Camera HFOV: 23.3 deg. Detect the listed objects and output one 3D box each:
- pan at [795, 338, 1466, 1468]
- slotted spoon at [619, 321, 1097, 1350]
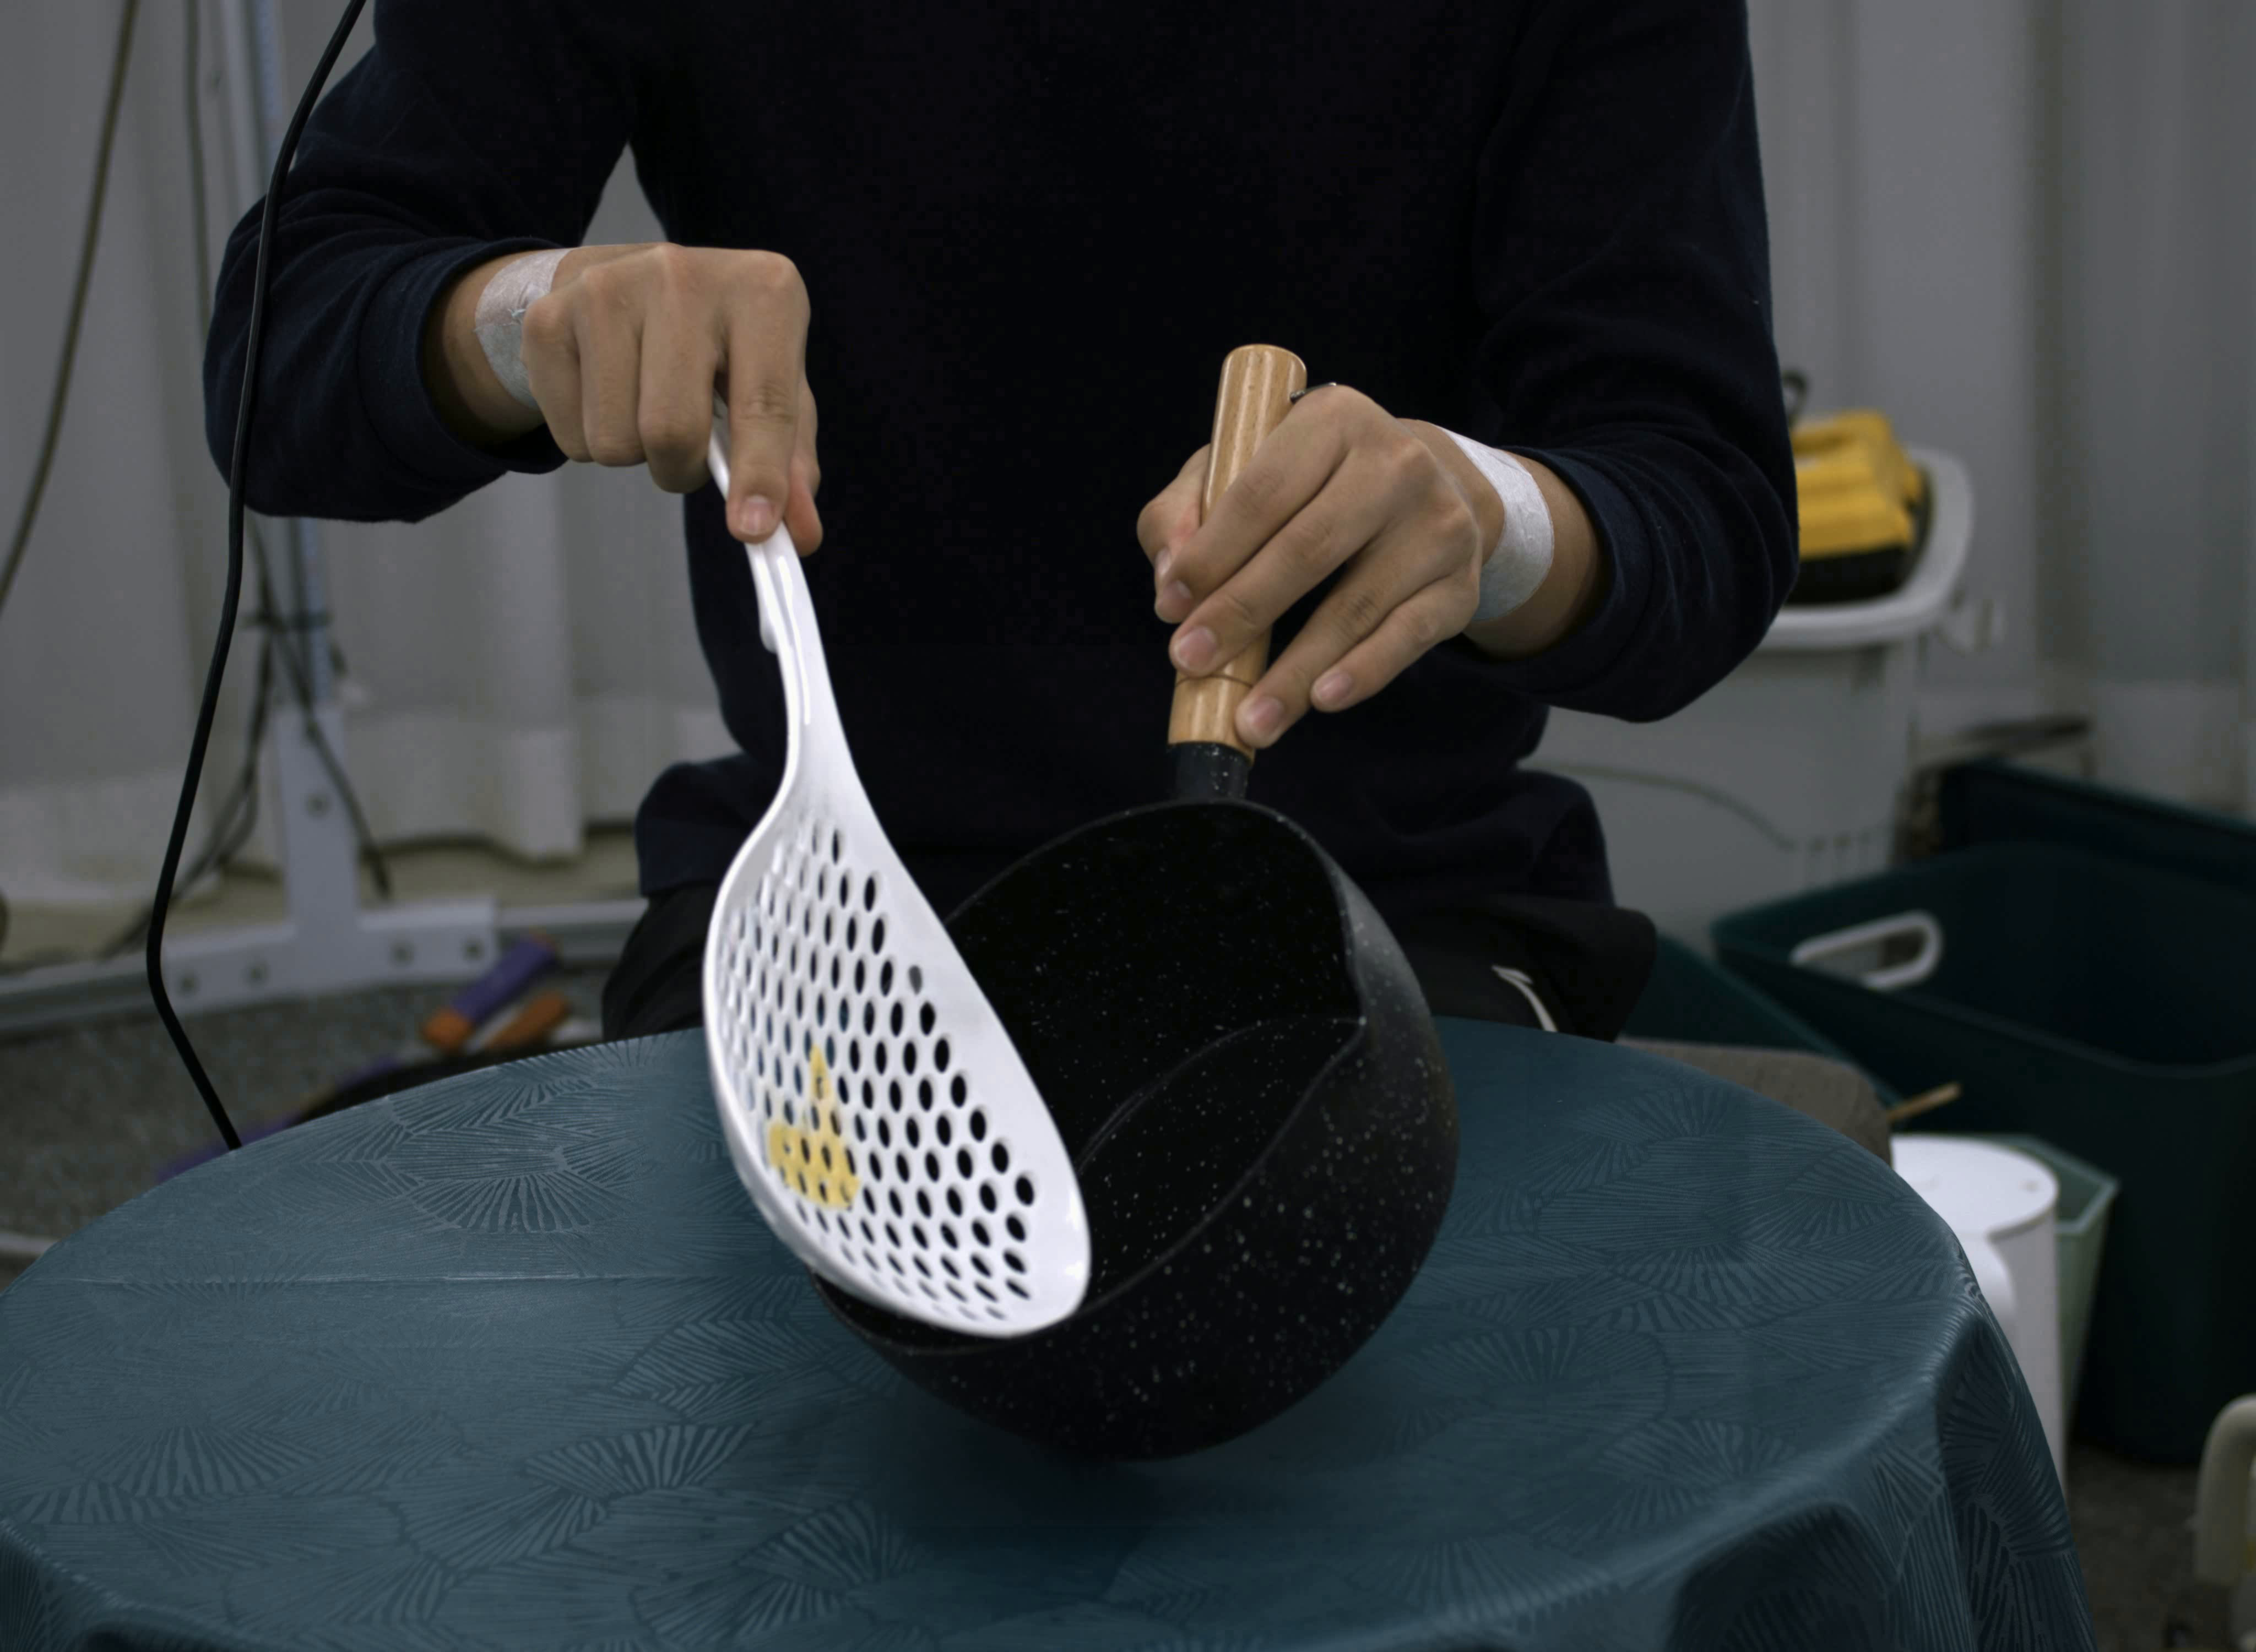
[{"bbox_3d":[0.020,0.021,1.543,0.207,0.107,0.347,-14,45,37],"label":"pan"},{"bbox_3d":[-0.092,-0.007,1.507,0.050,0.353,0.135,-33,-37,32],"label":"slotted spoon"}]
